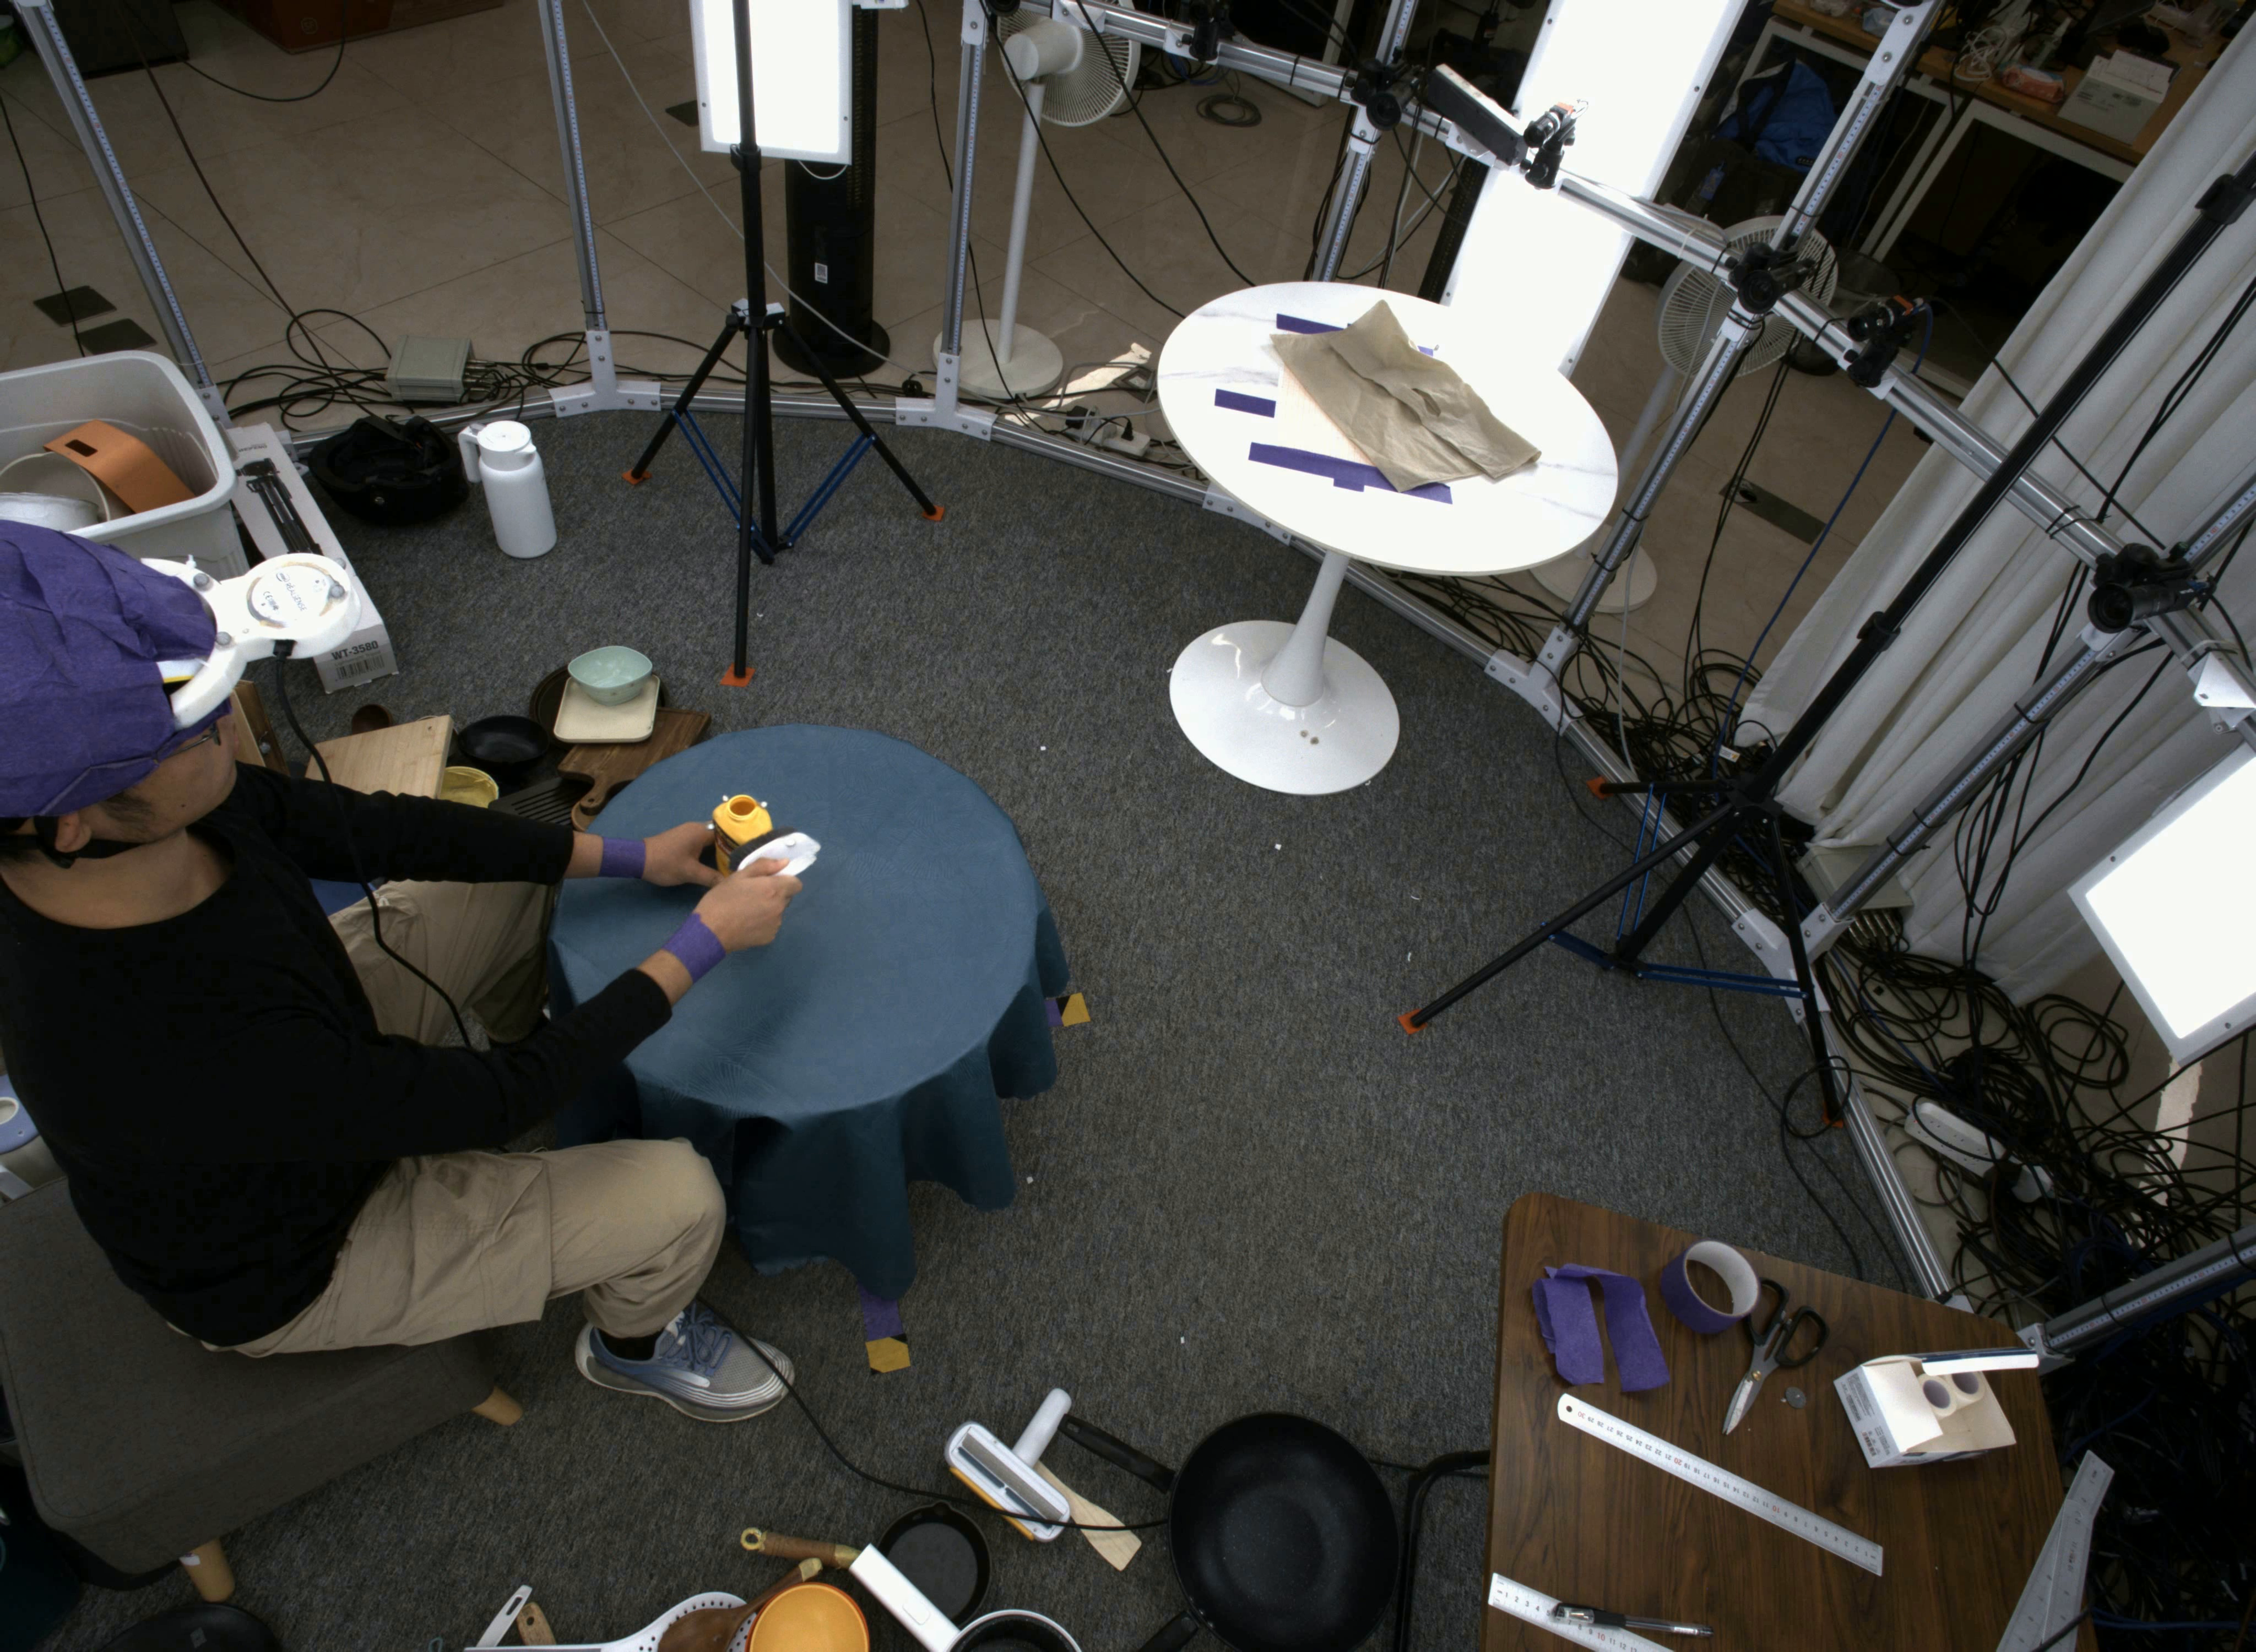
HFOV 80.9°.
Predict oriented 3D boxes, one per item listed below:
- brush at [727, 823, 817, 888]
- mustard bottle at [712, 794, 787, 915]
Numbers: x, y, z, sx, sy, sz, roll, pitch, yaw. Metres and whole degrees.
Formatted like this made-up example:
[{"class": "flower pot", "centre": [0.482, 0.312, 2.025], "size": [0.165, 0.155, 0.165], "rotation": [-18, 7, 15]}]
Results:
[{"class": "brush", "centre": [-0.411, 0.038, 1.517], "size": [0.099, 0.052, 0.070], "rotation": [-29, 33, -32]}, {"class": "mustard bottle", "centre": [-0.467, 0.027, 1.589], "size": [0.096, 0.175, 0.059], "rotation": [36, 57, 16]}]
